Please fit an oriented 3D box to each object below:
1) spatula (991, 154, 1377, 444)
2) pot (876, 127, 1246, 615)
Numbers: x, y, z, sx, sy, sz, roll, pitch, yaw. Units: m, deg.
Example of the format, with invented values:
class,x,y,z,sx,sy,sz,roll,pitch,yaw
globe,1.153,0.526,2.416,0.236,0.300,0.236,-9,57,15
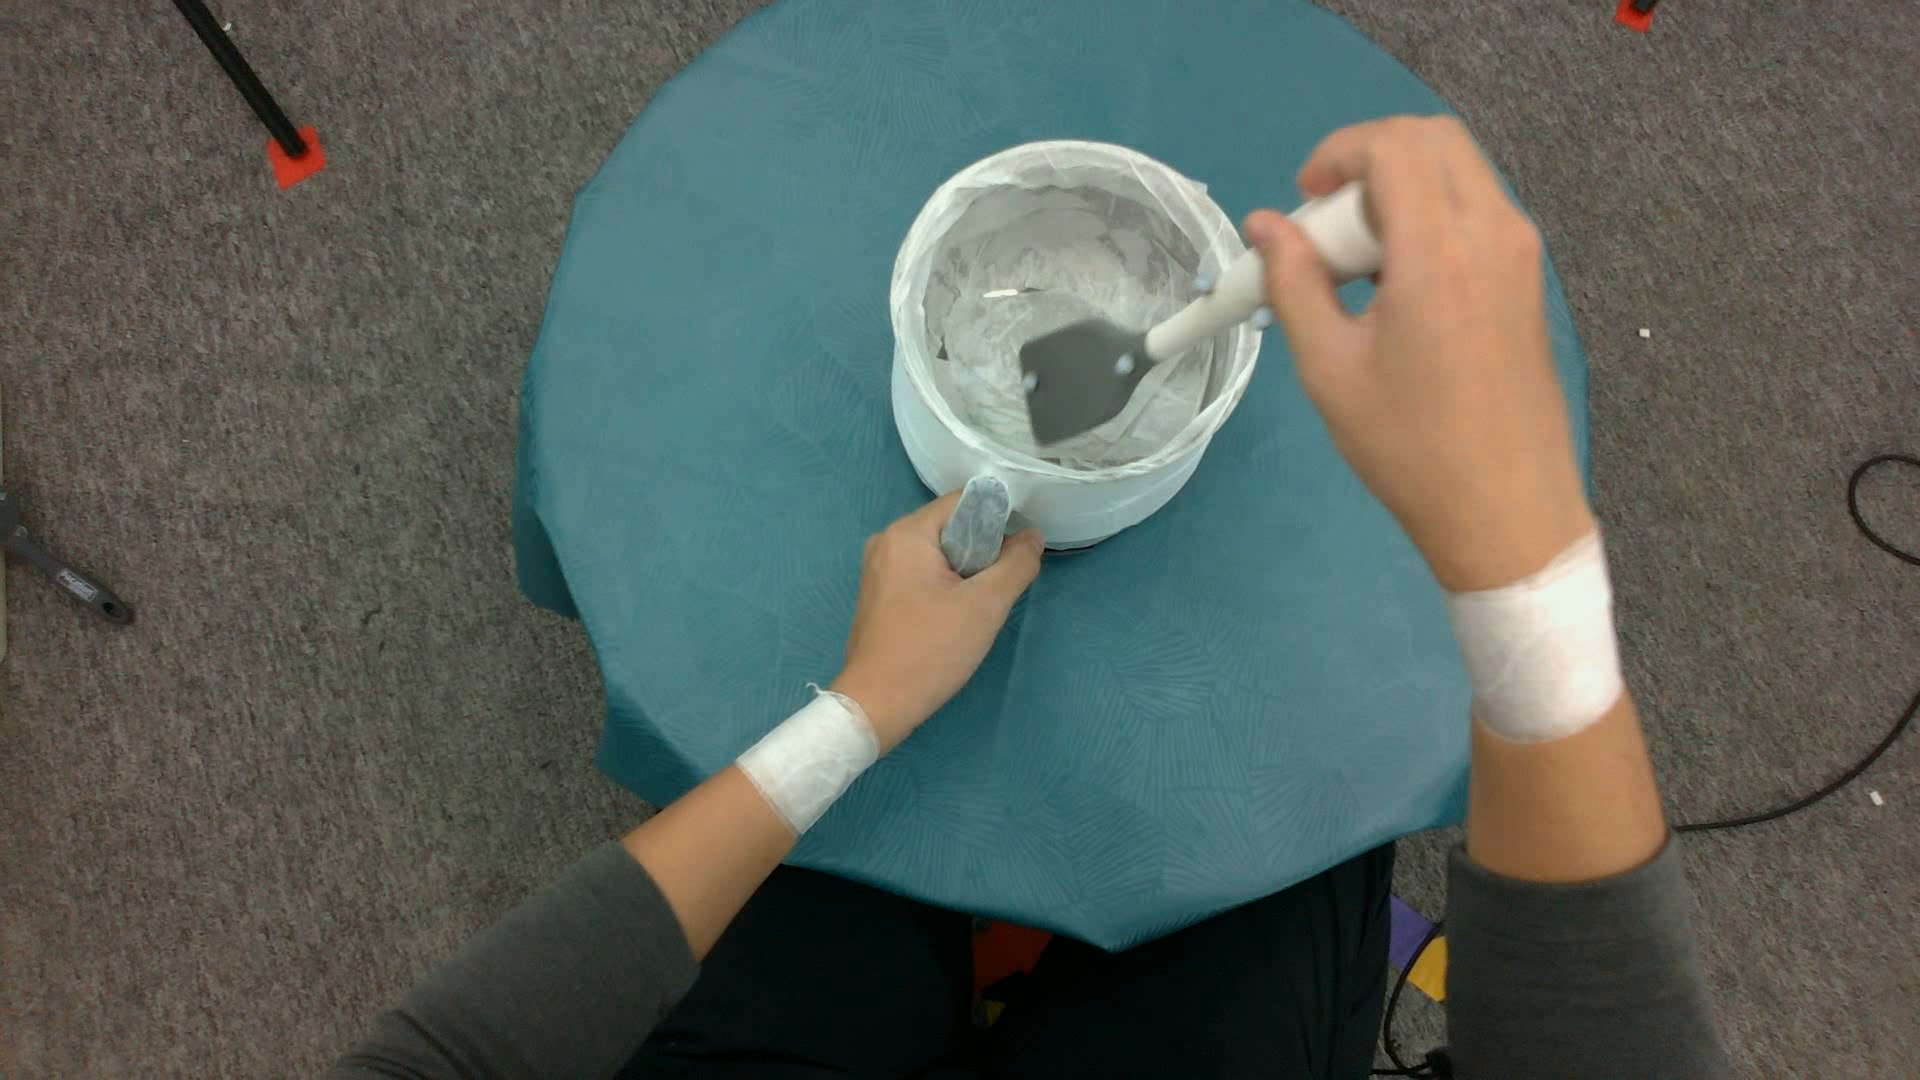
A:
class,x,y,z,sx,sy,sz,roll,pitch,yaw
spatula,0.074,-0.090,0.574,0.032,0.287,0.058,-13,87,-20
pot,0.034,-0.076,0.704,0.179,0.136,0.234,23,74,3
